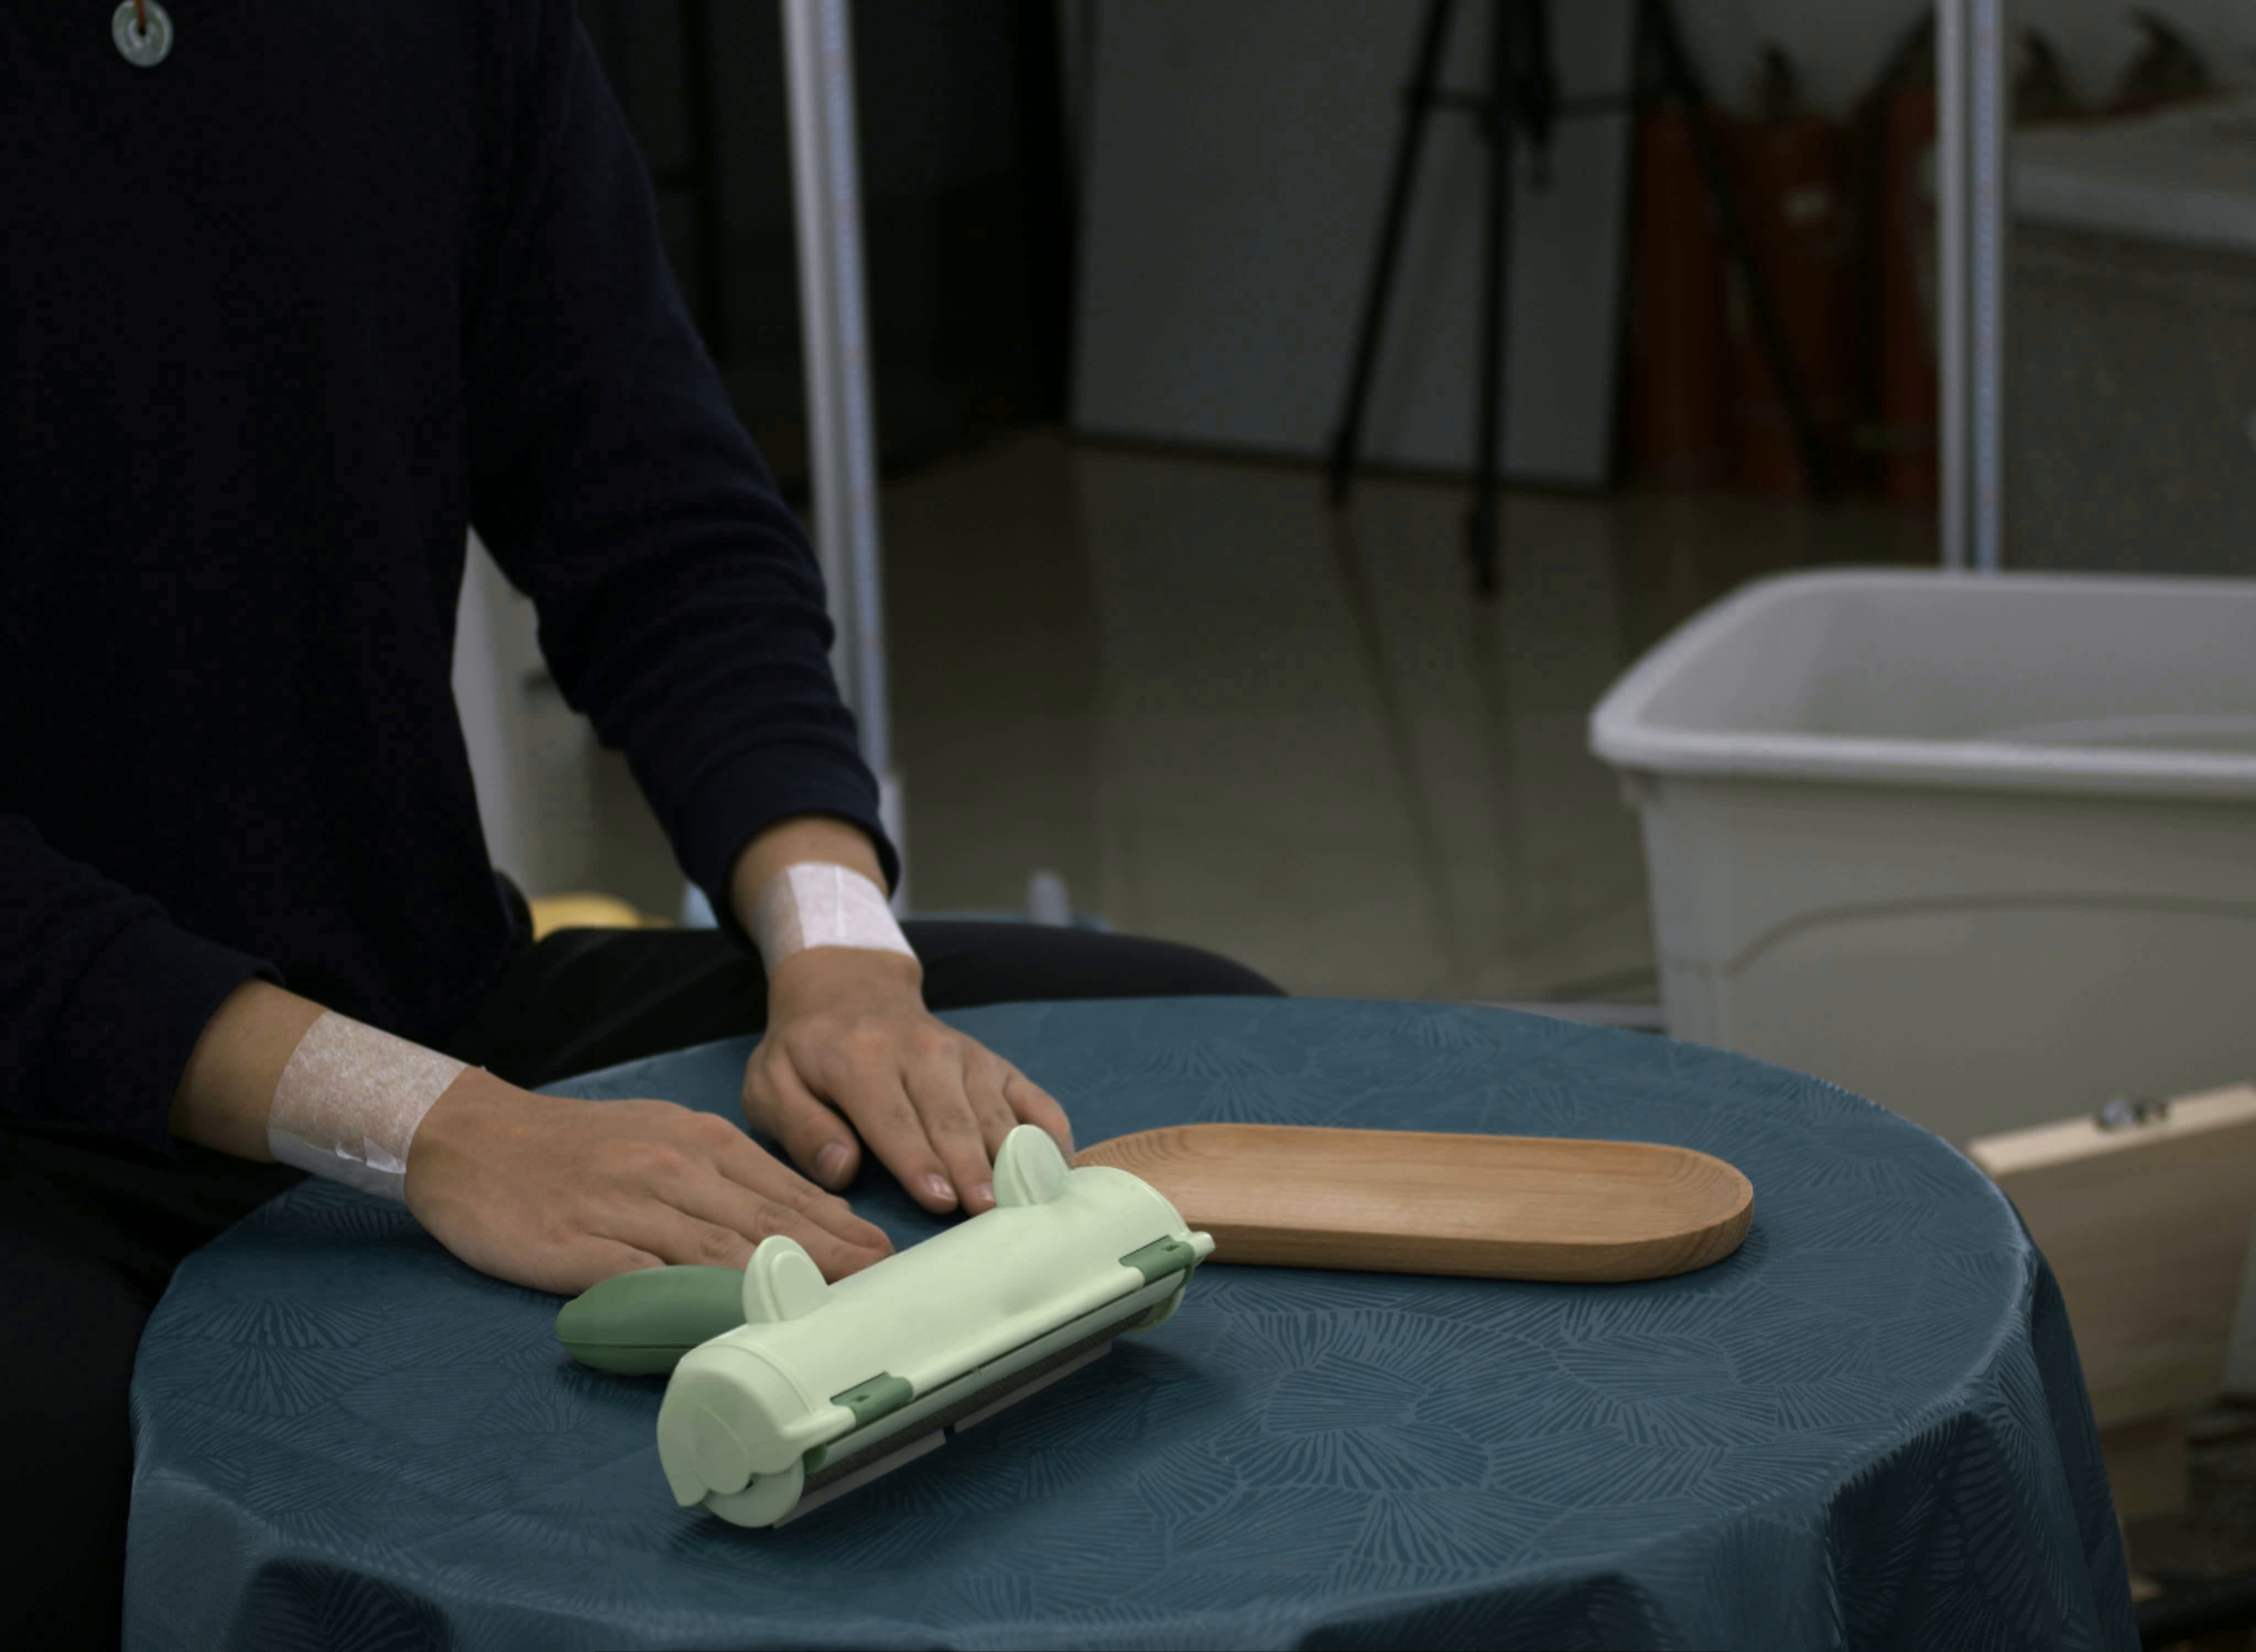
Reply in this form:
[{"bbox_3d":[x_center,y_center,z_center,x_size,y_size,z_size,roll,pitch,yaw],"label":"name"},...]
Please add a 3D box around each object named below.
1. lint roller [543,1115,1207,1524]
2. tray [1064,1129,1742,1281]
[{"bbox_3d":[-0.101,0.129,1.584,0.184,0.083,0.195,13,20,35],"label":"lint roller"},{"bbox_3d":[0.083,0.121,1.715,0.231,0.020,0.101,-1,14,20],"label":"tray"}]
